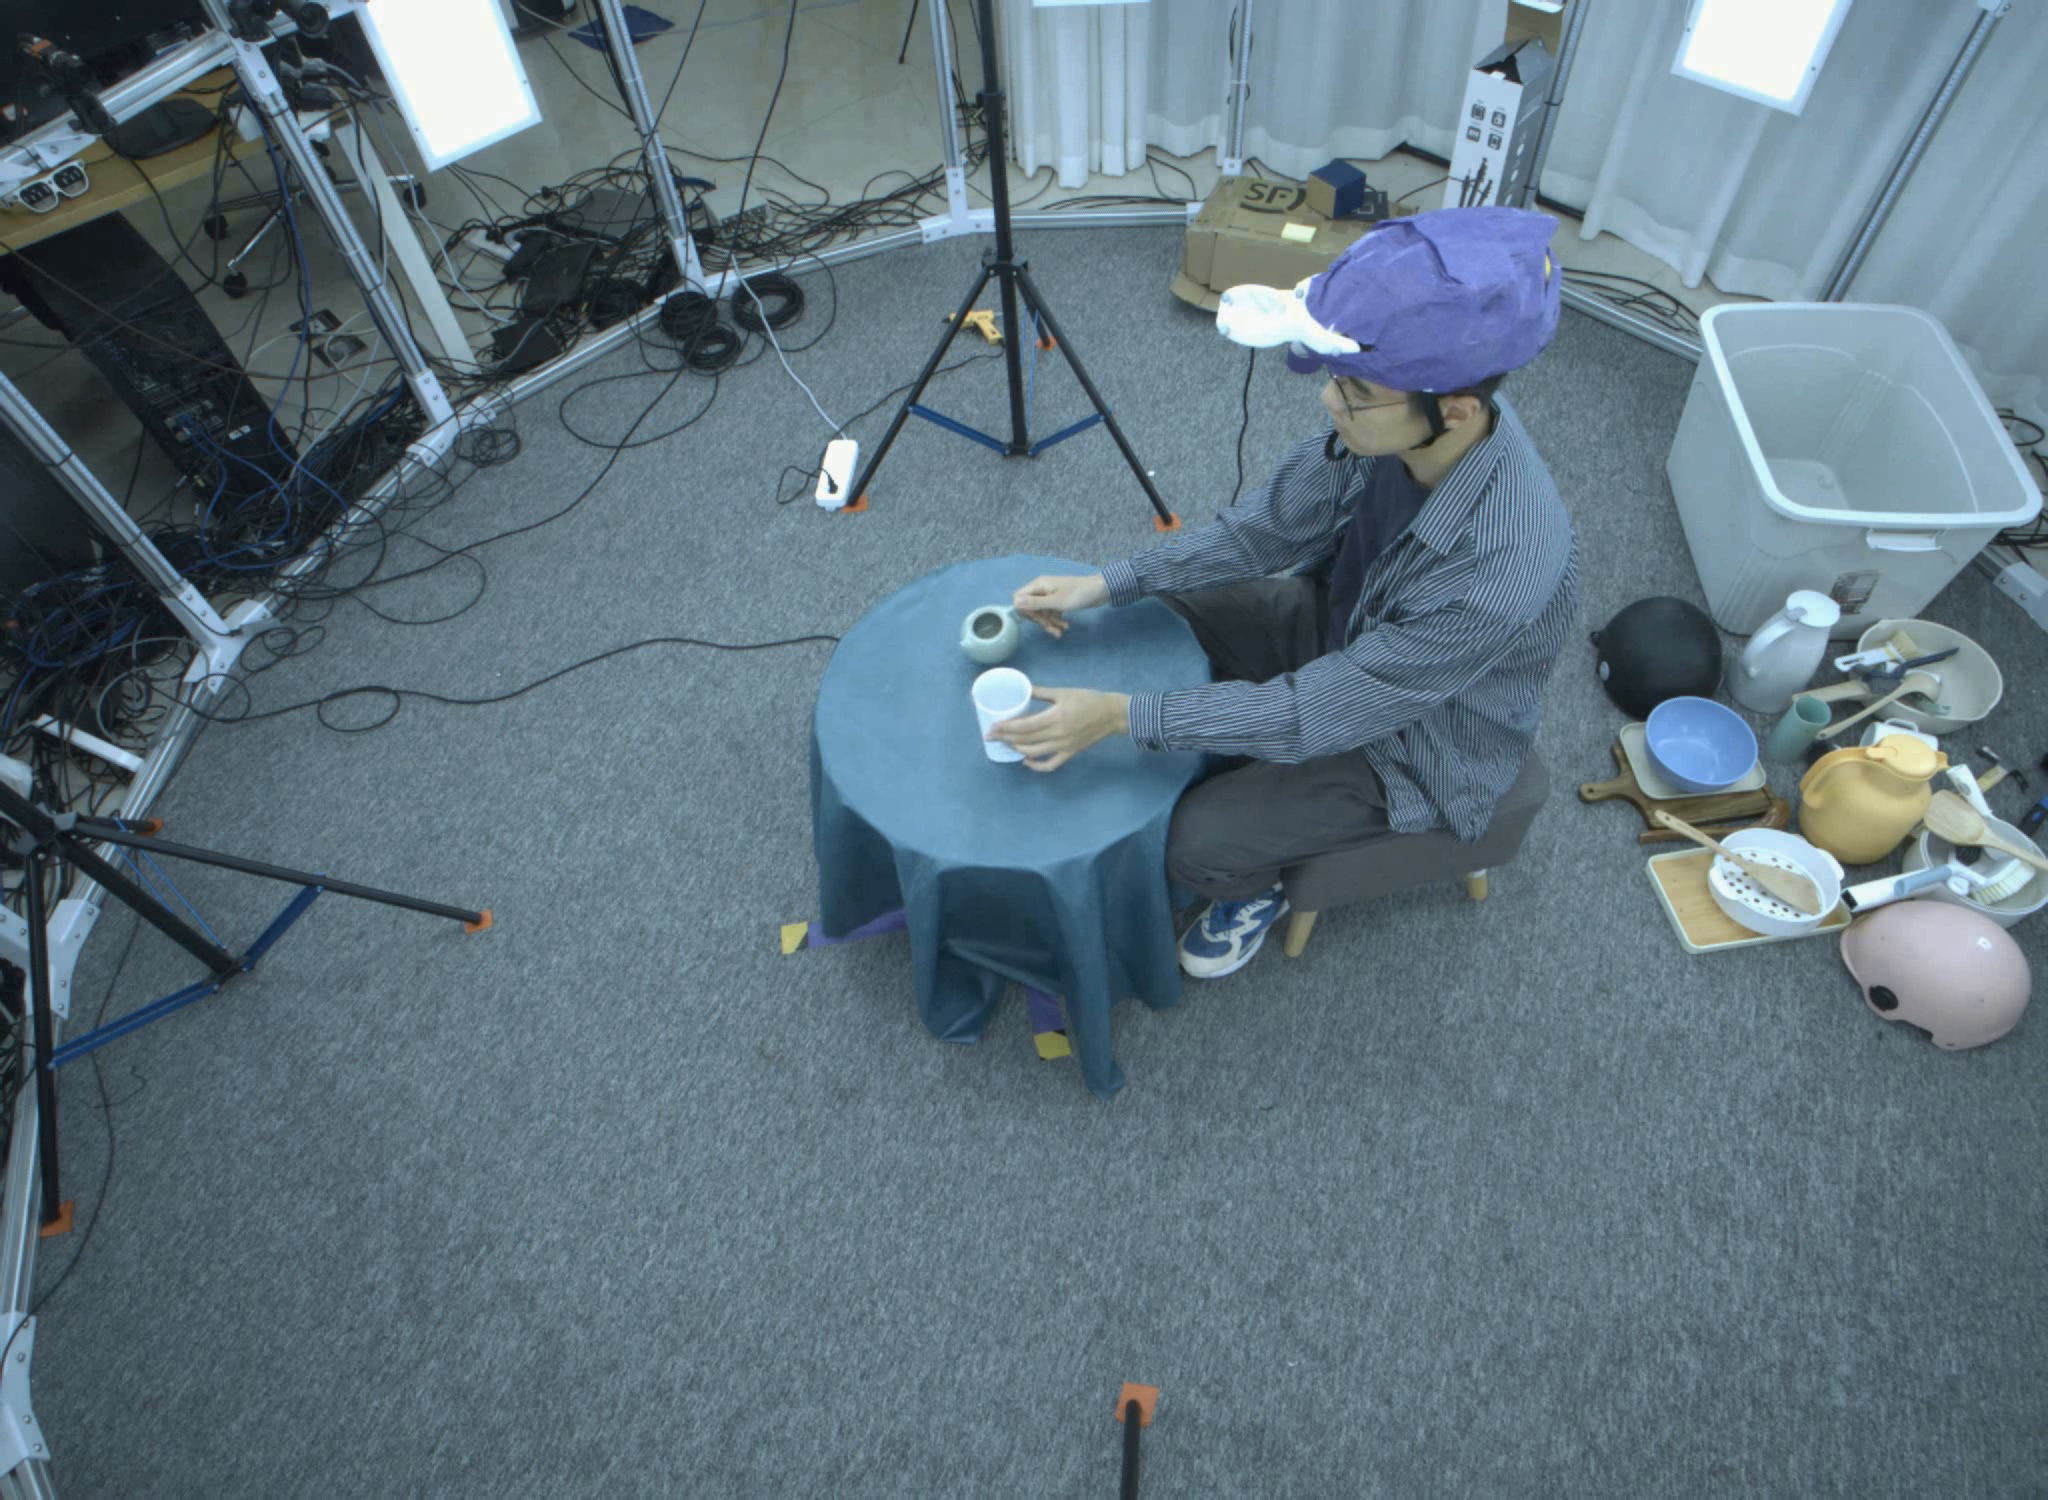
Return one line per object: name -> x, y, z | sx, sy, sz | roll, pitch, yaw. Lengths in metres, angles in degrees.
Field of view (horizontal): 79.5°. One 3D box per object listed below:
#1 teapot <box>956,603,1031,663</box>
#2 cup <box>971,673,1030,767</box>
teapot -> -0.044, -0.182, 1.865 | 0.129, 0.062, 0.090 | -33, 63, -6
cup -> -0.030, -0.038, 1.739 | 0.081, 0.127, 0.081 | -1, 55, 2
